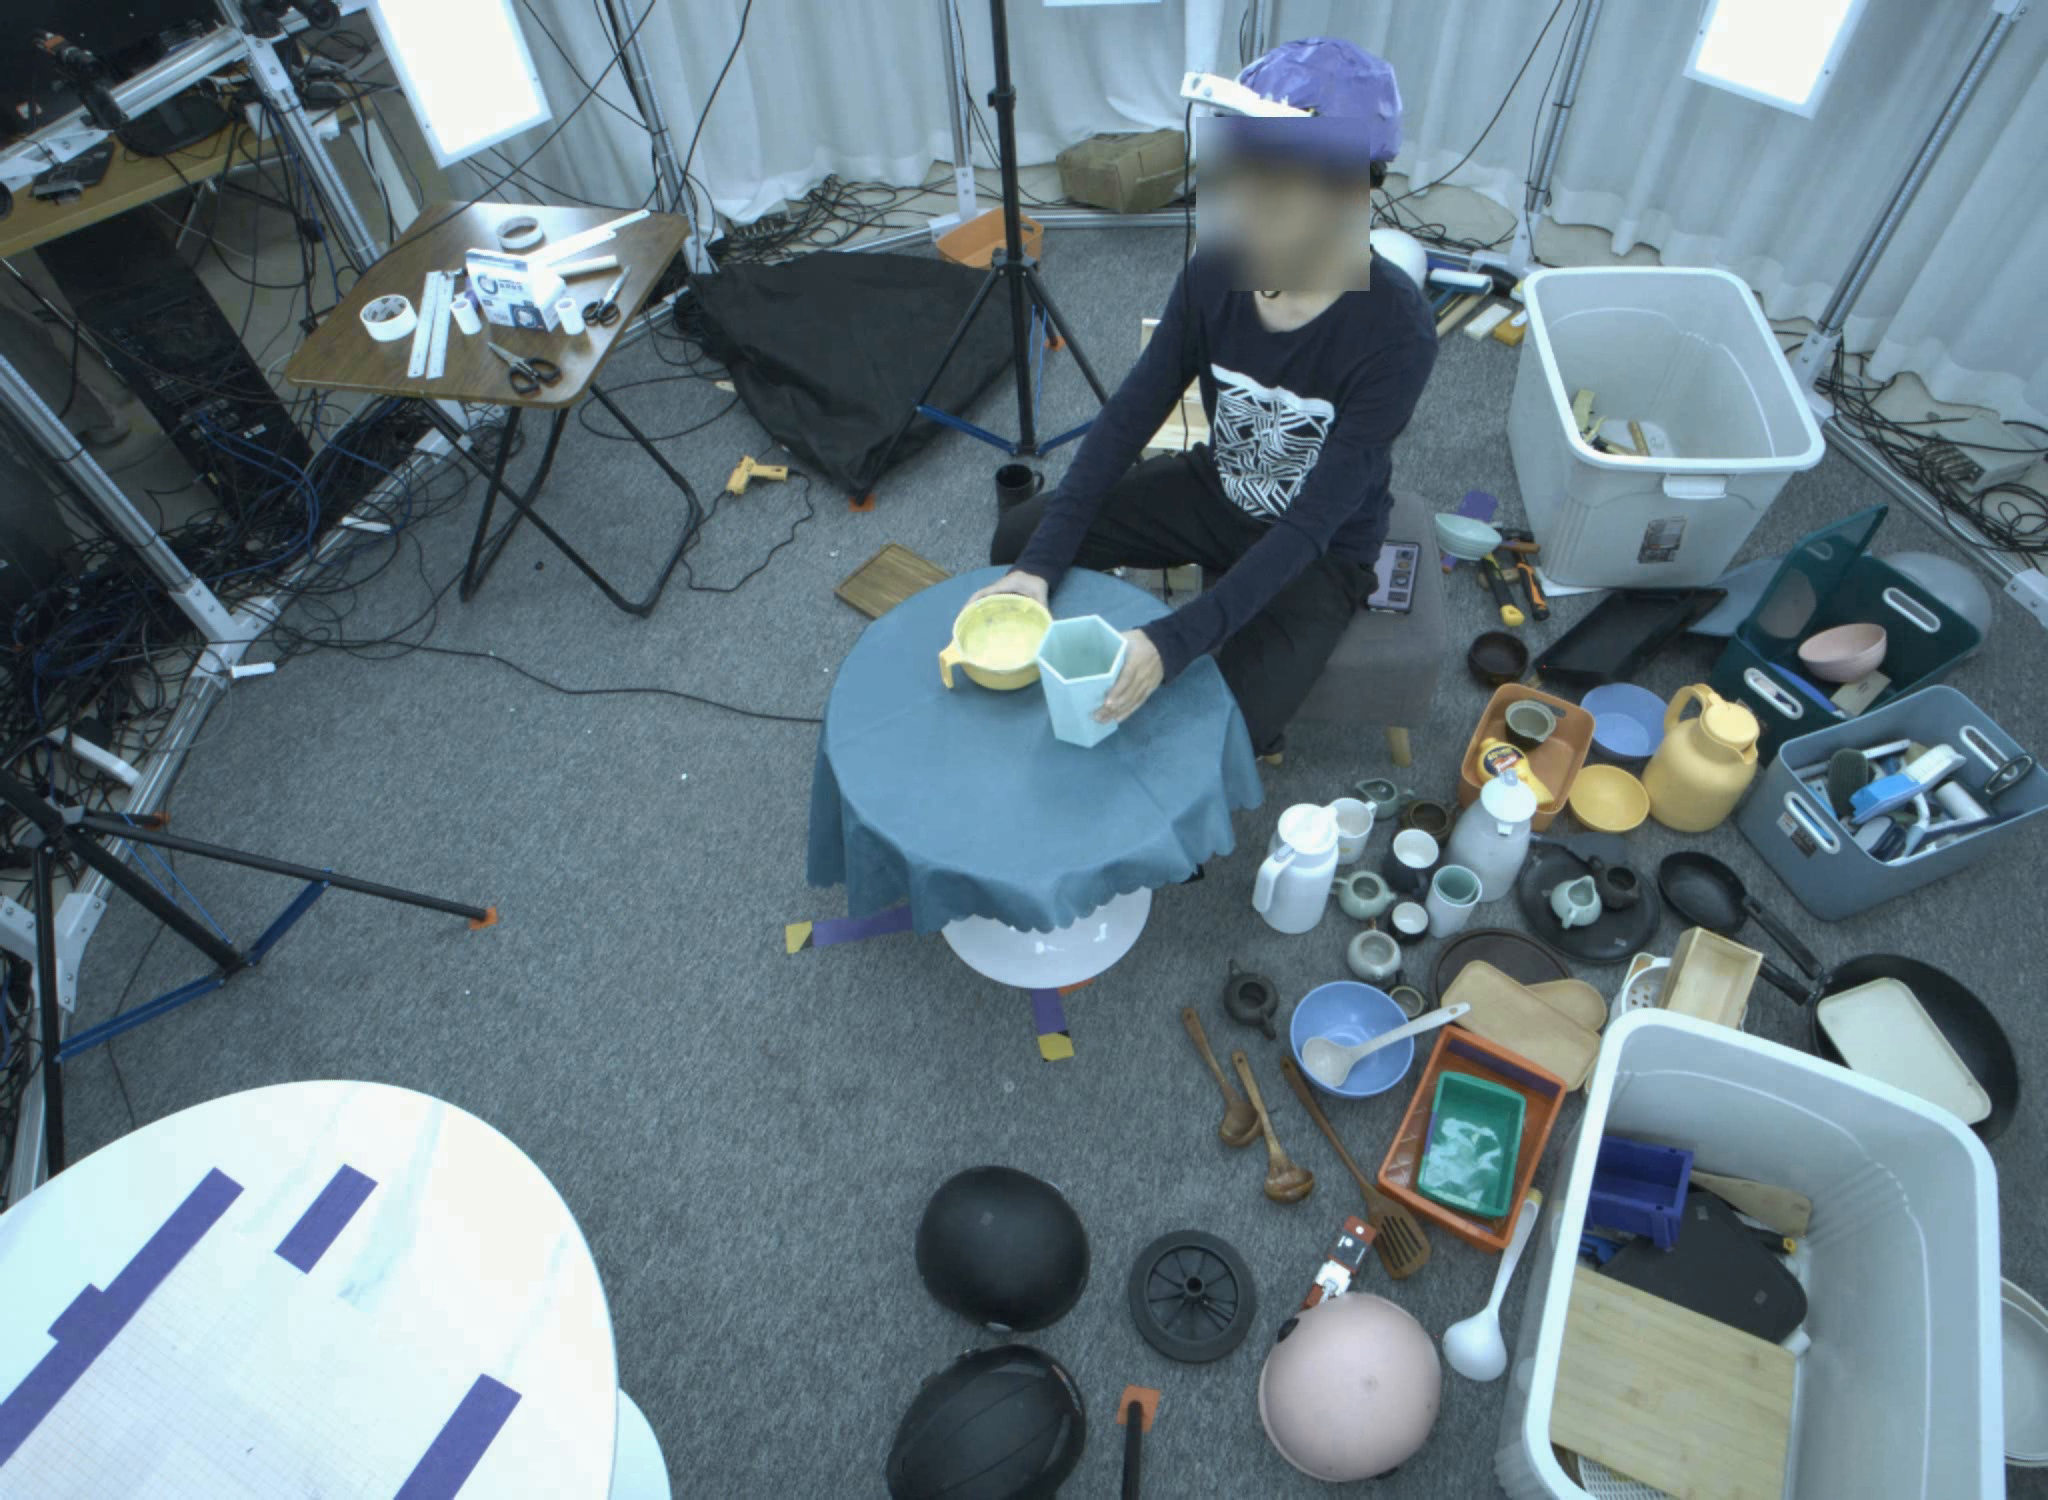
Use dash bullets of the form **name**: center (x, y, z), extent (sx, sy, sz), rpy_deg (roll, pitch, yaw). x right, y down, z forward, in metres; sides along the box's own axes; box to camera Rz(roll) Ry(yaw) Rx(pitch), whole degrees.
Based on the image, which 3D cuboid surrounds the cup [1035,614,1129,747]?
- **cup**: center (0.081, -0.092, 1.742), extent (0.116, 0.164, 0.128), rpy_deg (-37, 61, -23)

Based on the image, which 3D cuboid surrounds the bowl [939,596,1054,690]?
- **bowl**: center (-0.041, -0.153, 1.850), extent (0.181, 0.075, 0.150), rpy_deg (-26, 57, -18)
